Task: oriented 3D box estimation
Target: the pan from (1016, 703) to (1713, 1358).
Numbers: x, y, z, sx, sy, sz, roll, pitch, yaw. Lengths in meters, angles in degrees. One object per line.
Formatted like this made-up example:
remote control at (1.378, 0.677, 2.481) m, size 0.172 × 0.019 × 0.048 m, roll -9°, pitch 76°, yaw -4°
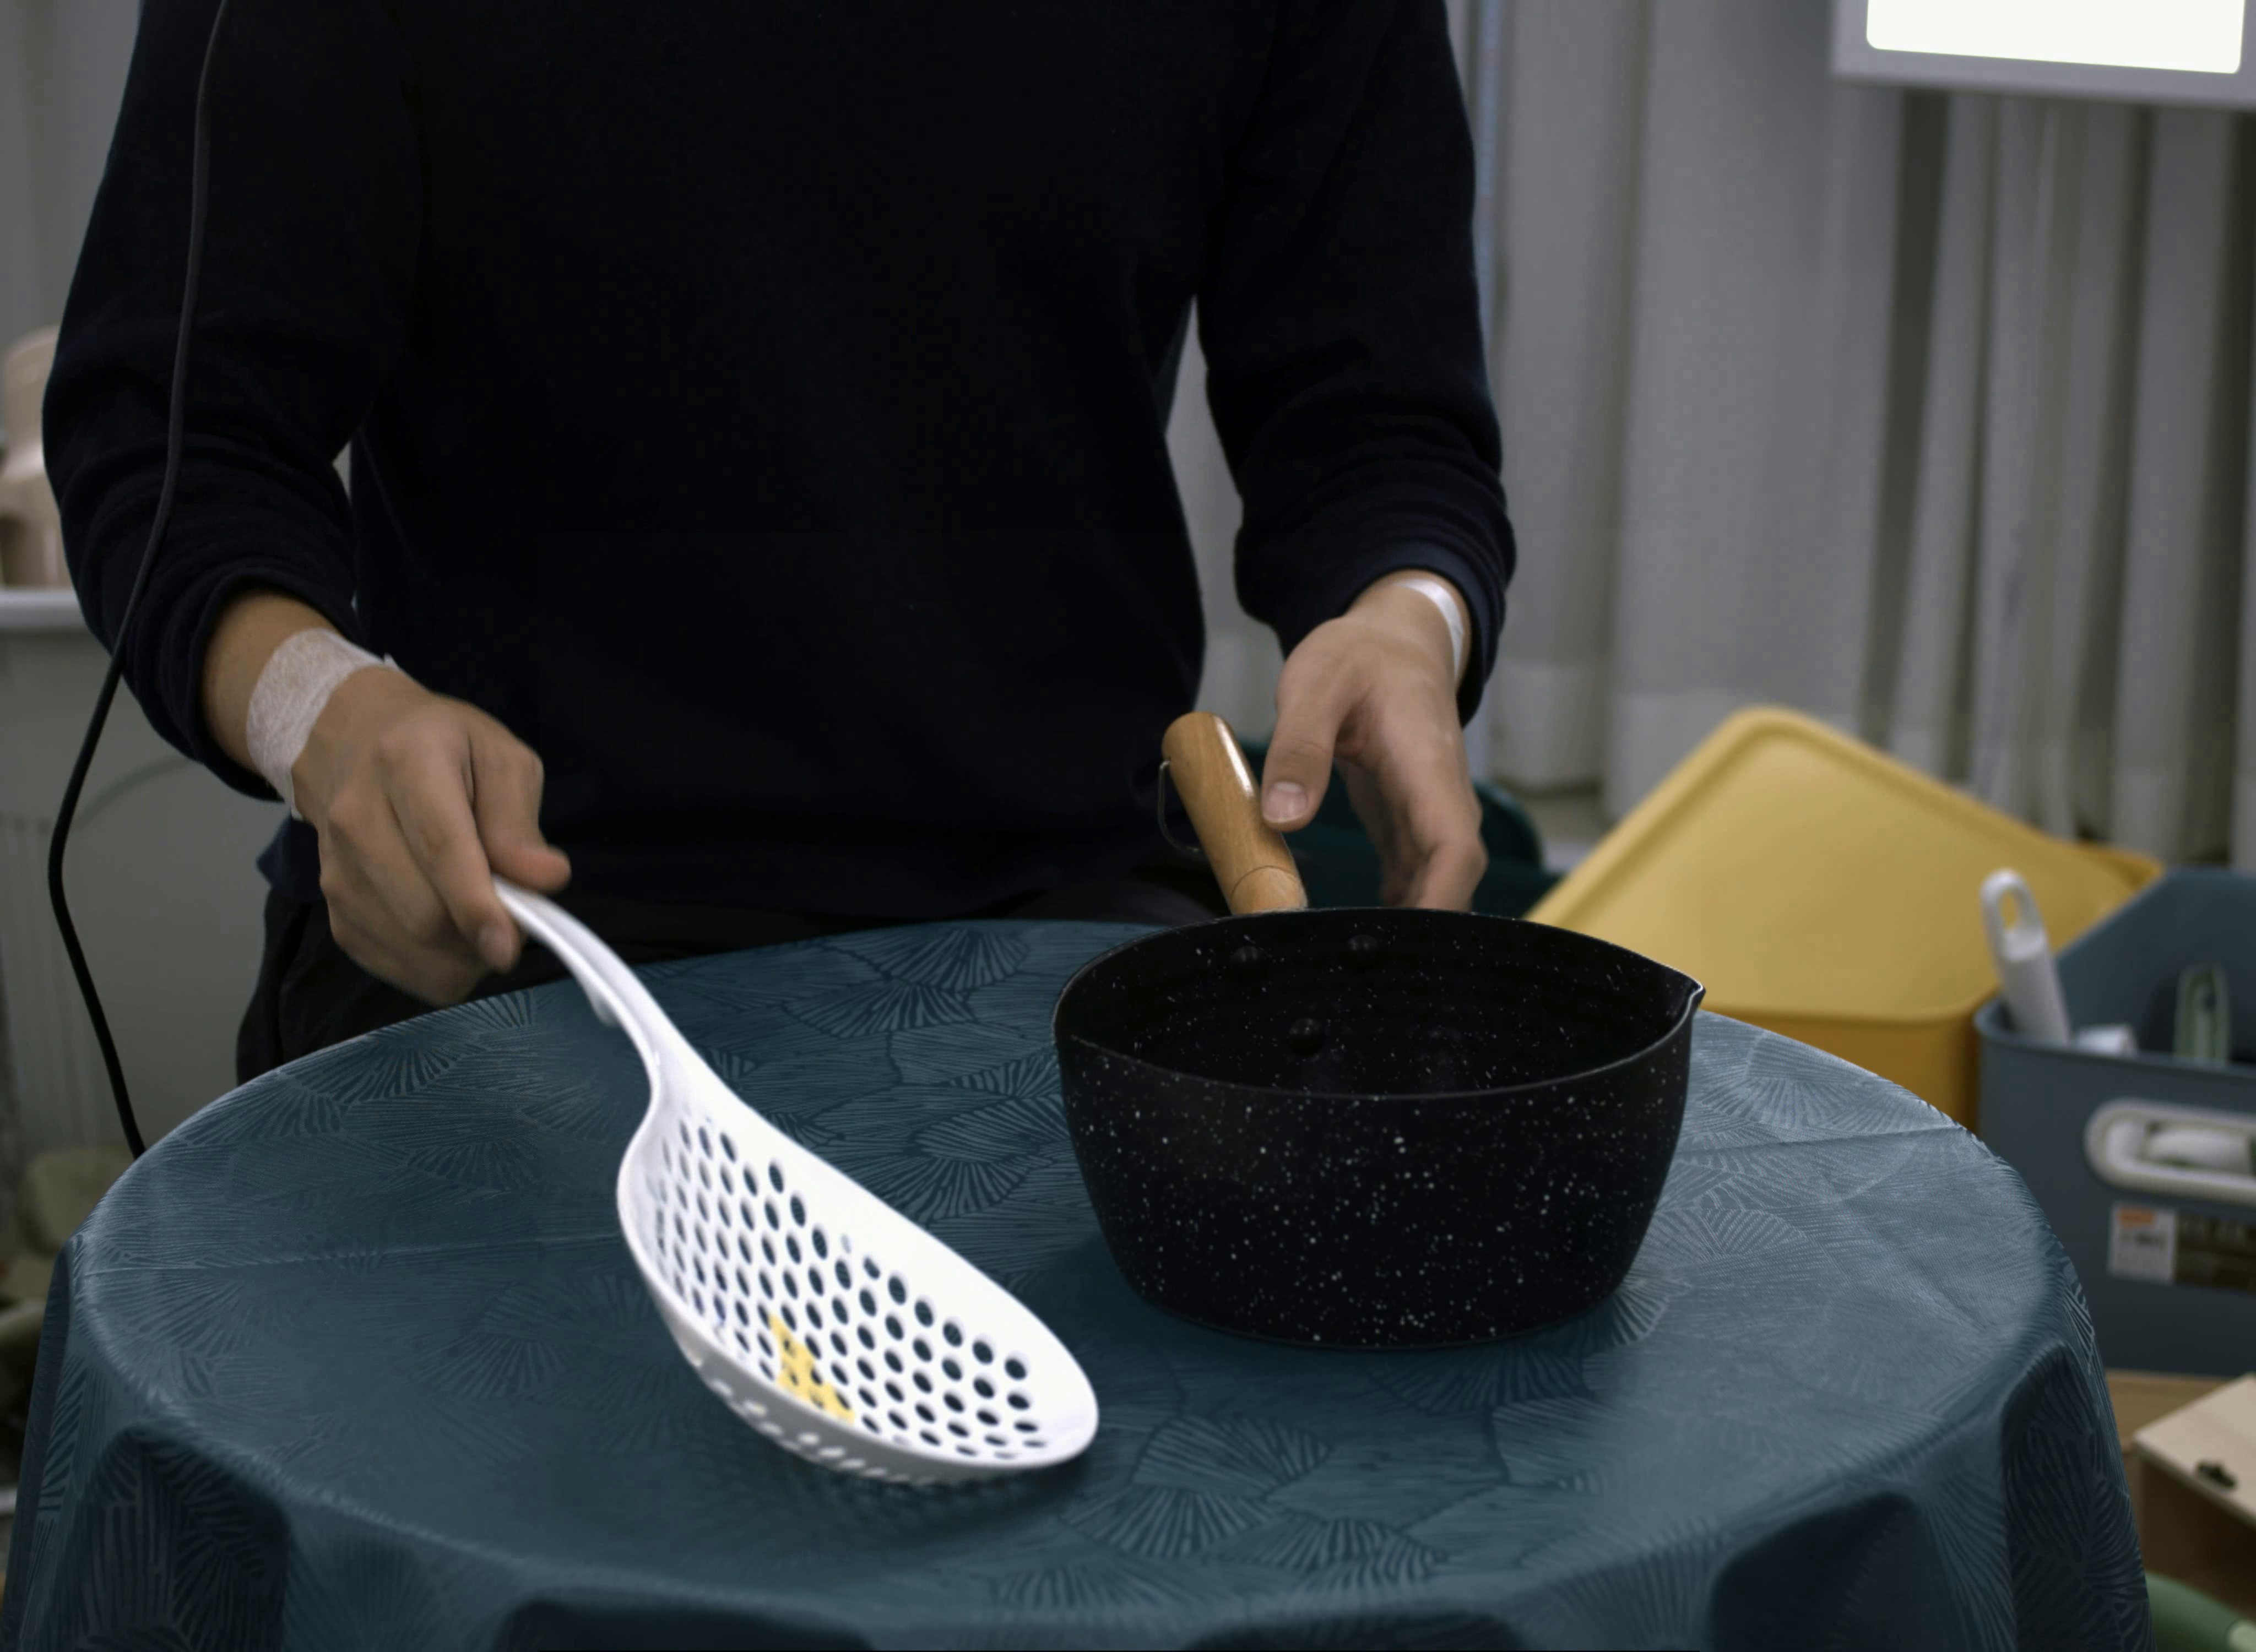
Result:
pan at (0.055, 0.057, 1.619) m, size 0.207 × 0.109 × 0.339 m, roll -4°, pitch 18°, yaw -12°

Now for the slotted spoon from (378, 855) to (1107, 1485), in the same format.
slotted spoon at (-0.128, 0.086, 1.483) m, size 0.138 × 0.050 × 0.343 m, roll 12°, pitch 26°, yaw -39°
